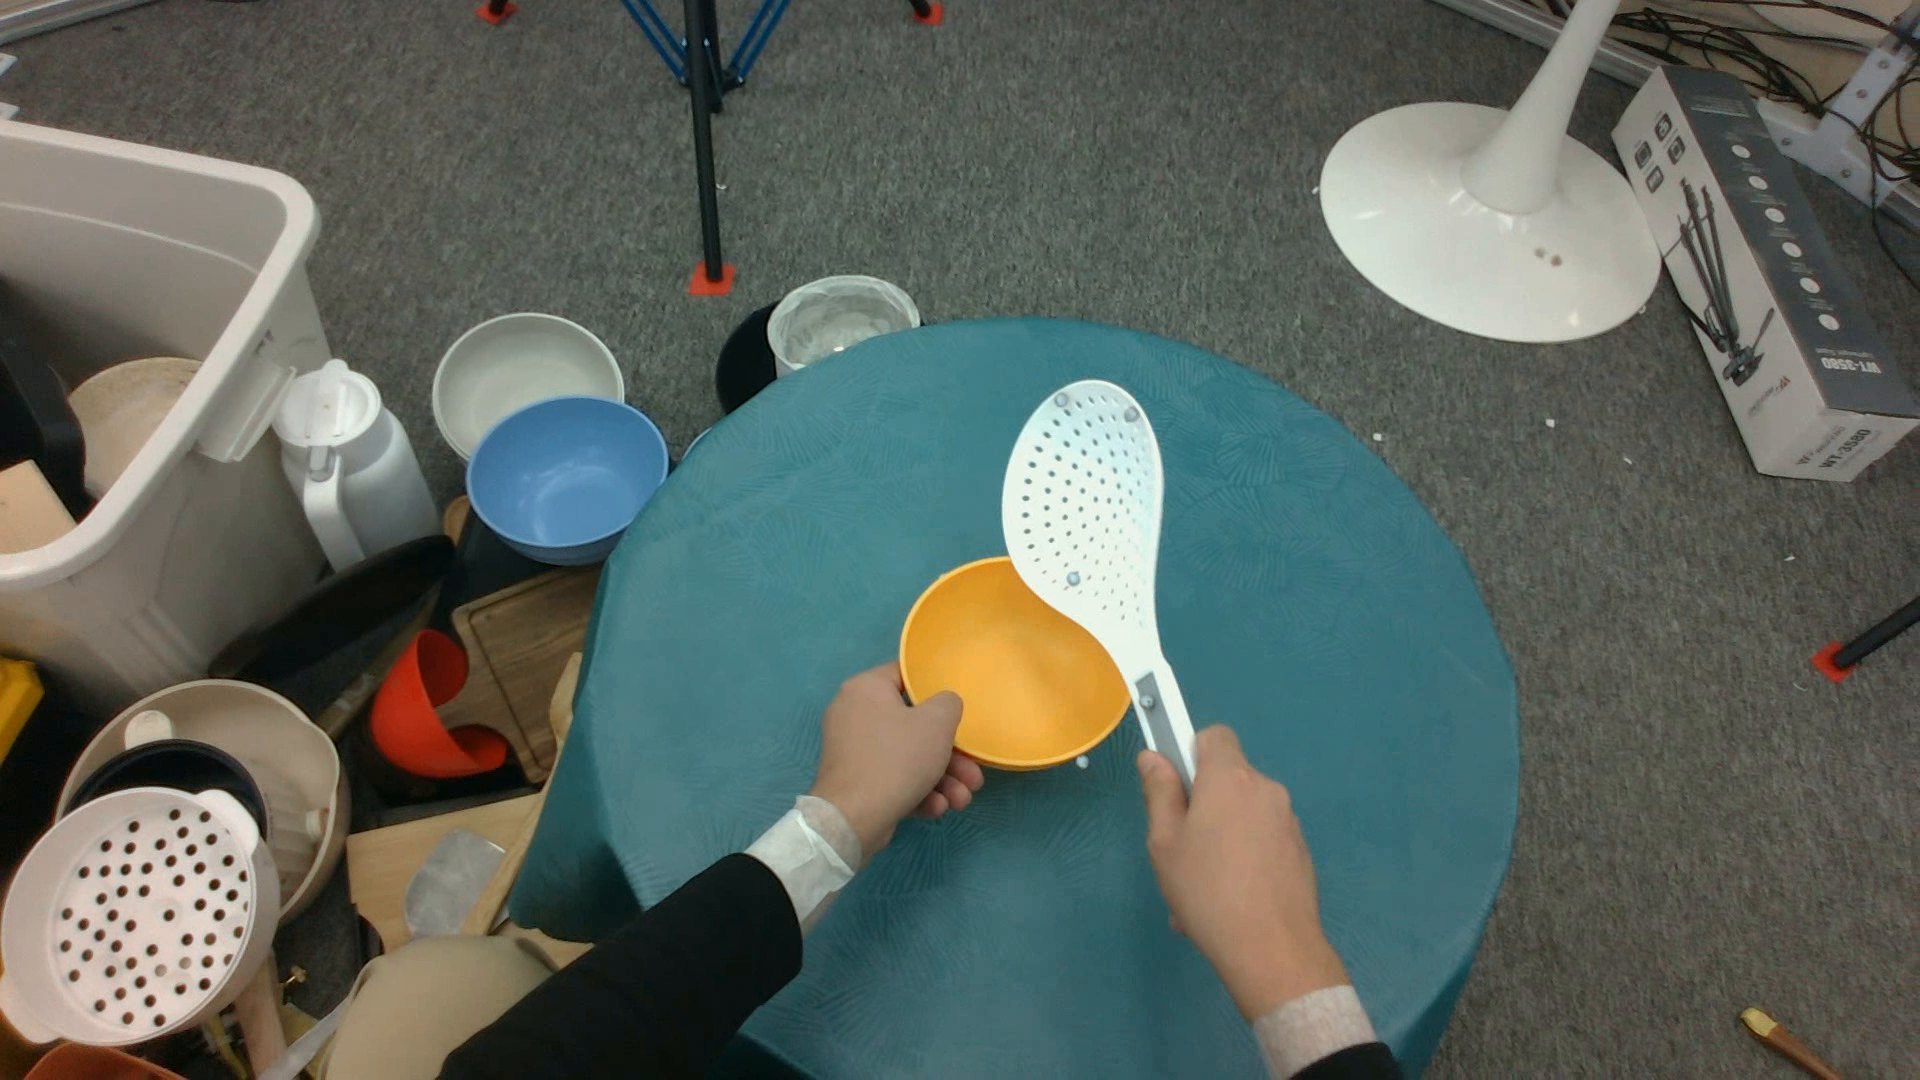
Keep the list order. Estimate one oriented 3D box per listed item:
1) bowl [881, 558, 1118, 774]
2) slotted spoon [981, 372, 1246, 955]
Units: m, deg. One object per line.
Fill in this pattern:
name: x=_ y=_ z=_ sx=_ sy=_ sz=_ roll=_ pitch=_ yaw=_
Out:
bowl: x=0.023 y=0.086 z=0.850 sx=0.145 sy=0.060 sz=0.146 roll=2 pitch=57 yaw=-2
slotted spoon: x=0.090 y=0.059 z=0.777 sx=0.046 sy=0.135 sz=0.351 roll=15 pitch=49 yaw=-37
